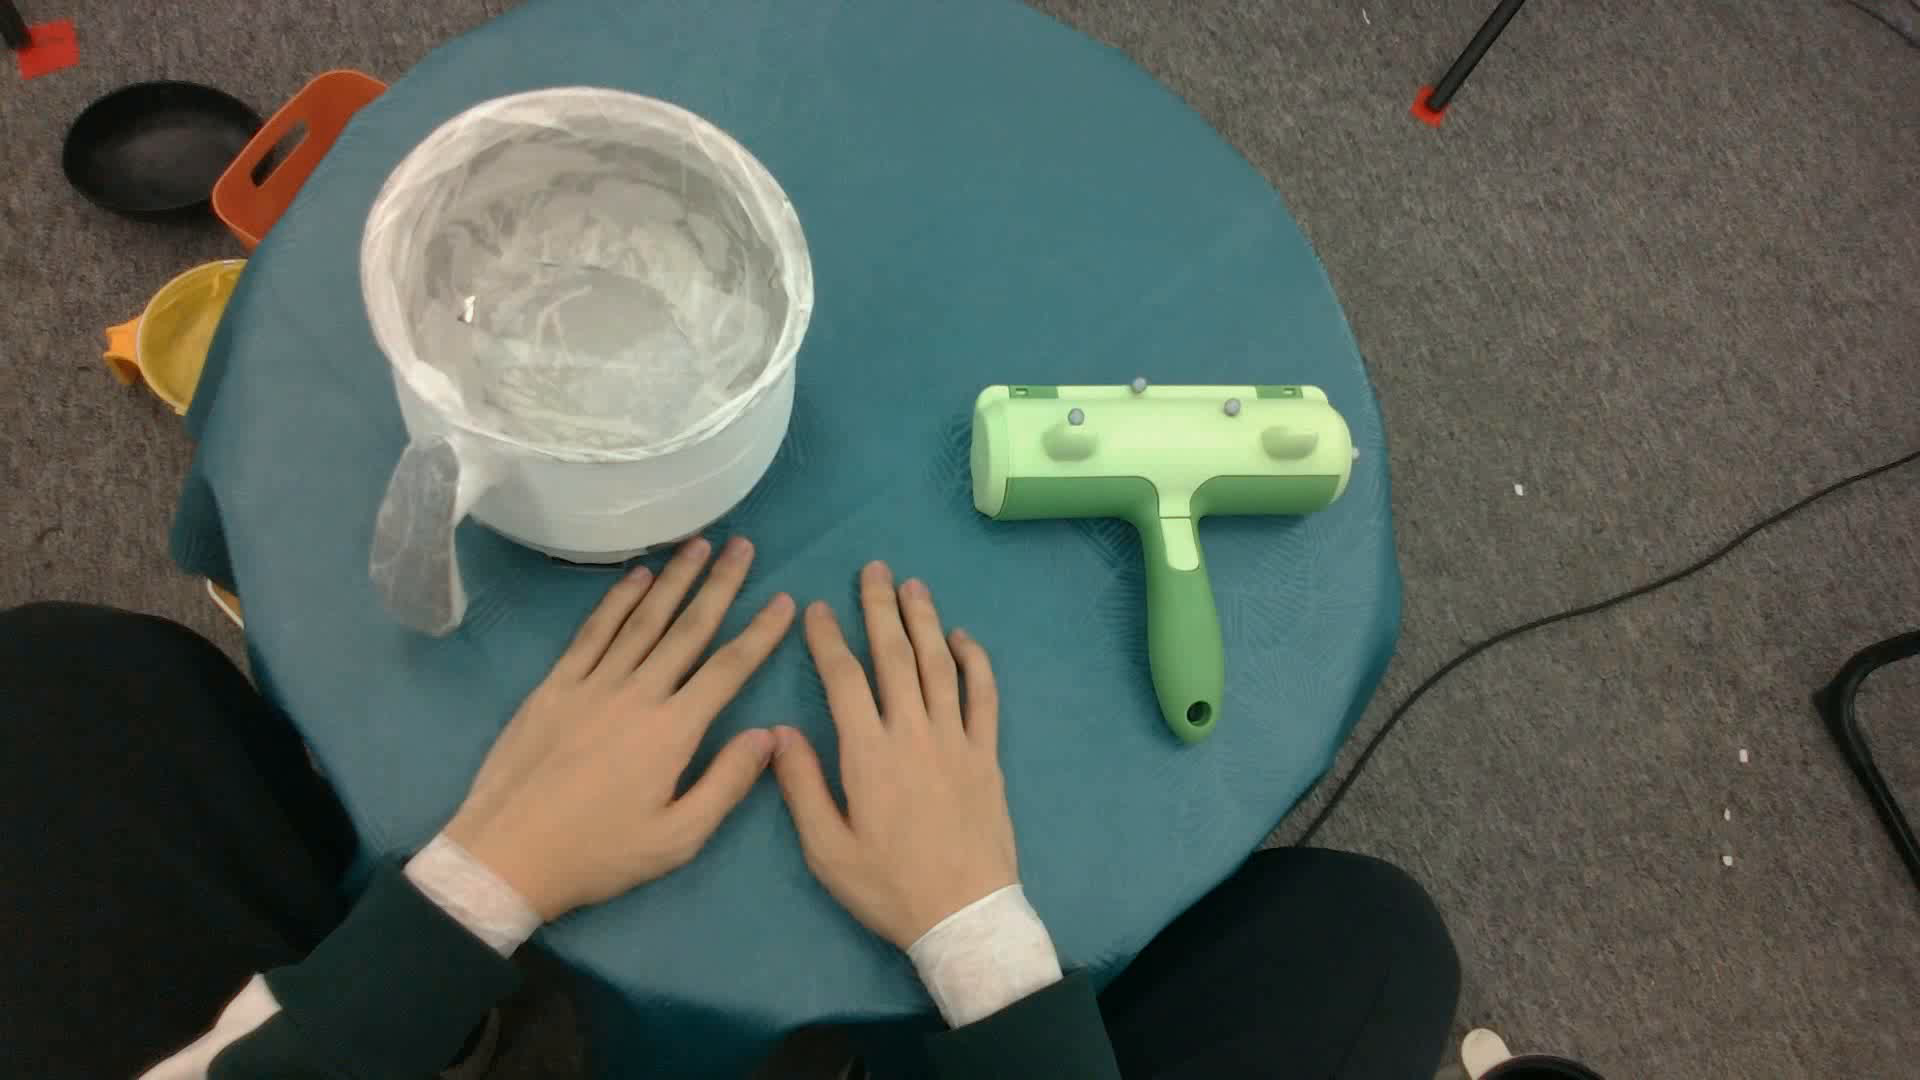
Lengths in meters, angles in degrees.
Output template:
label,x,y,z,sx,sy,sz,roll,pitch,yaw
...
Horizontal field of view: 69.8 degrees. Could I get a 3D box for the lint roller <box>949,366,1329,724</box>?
label,x,y,z,sx,sy,sz,roll,pitch,yaw
lint roller,0.102,-0.006,0.685,0.199,0.082,0.184,-2,64,-14

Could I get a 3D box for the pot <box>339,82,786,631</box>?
label,x,y,z,sx,sy,sz,roll,pitch,yaw
pot,-0.185,-0.070,0.608,0.179,0.136,0.234,29,64,0
